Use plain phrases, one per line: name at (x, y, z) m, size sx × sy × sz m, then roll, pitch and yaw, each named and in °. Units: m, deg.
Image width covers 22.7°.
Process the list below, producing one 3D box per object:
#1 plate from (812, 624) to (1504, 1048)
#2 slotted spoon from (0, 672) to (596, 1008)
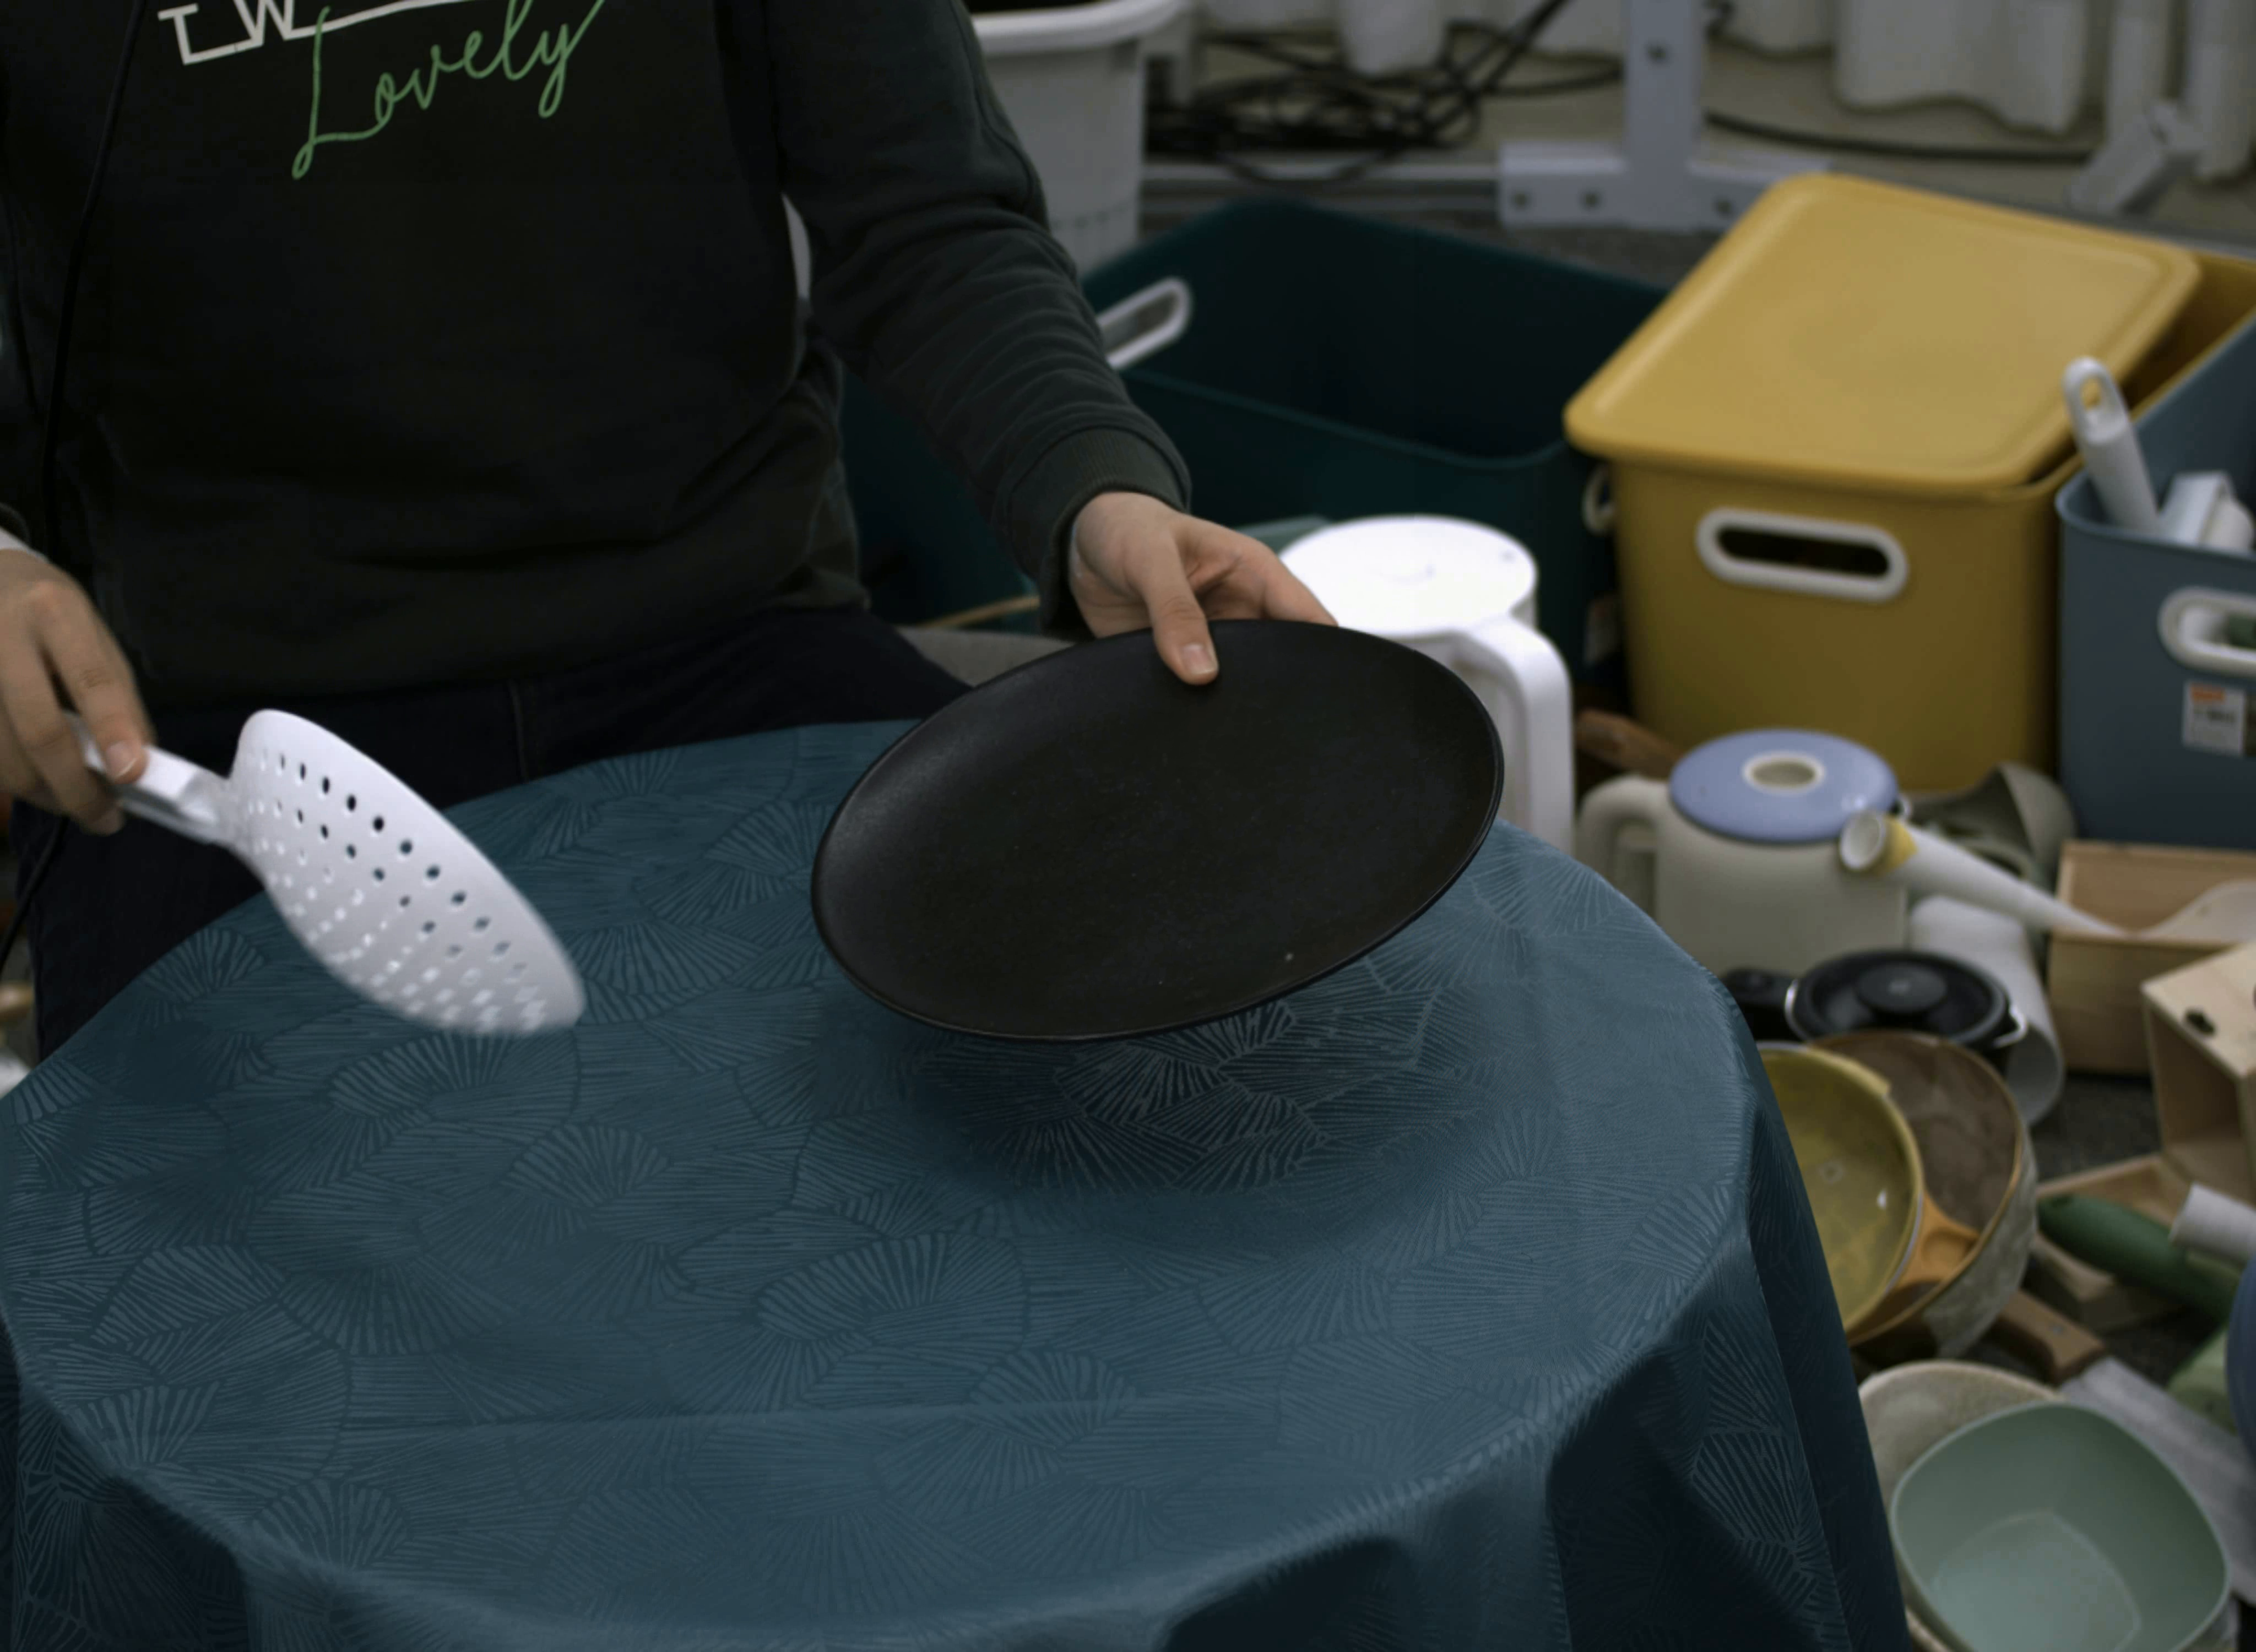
plate at (0.011, 0.006, 1.929) m, size 0.243 × 0.023 × 0.249 m, roll -10°, pitch 33°, yaw 7°
slotted spoon at (-0.285, -0.009, 1.810) m, size 0.046 × 0.135 × 0.349 m, roll -46°, pitch 34°, yaw -15°
